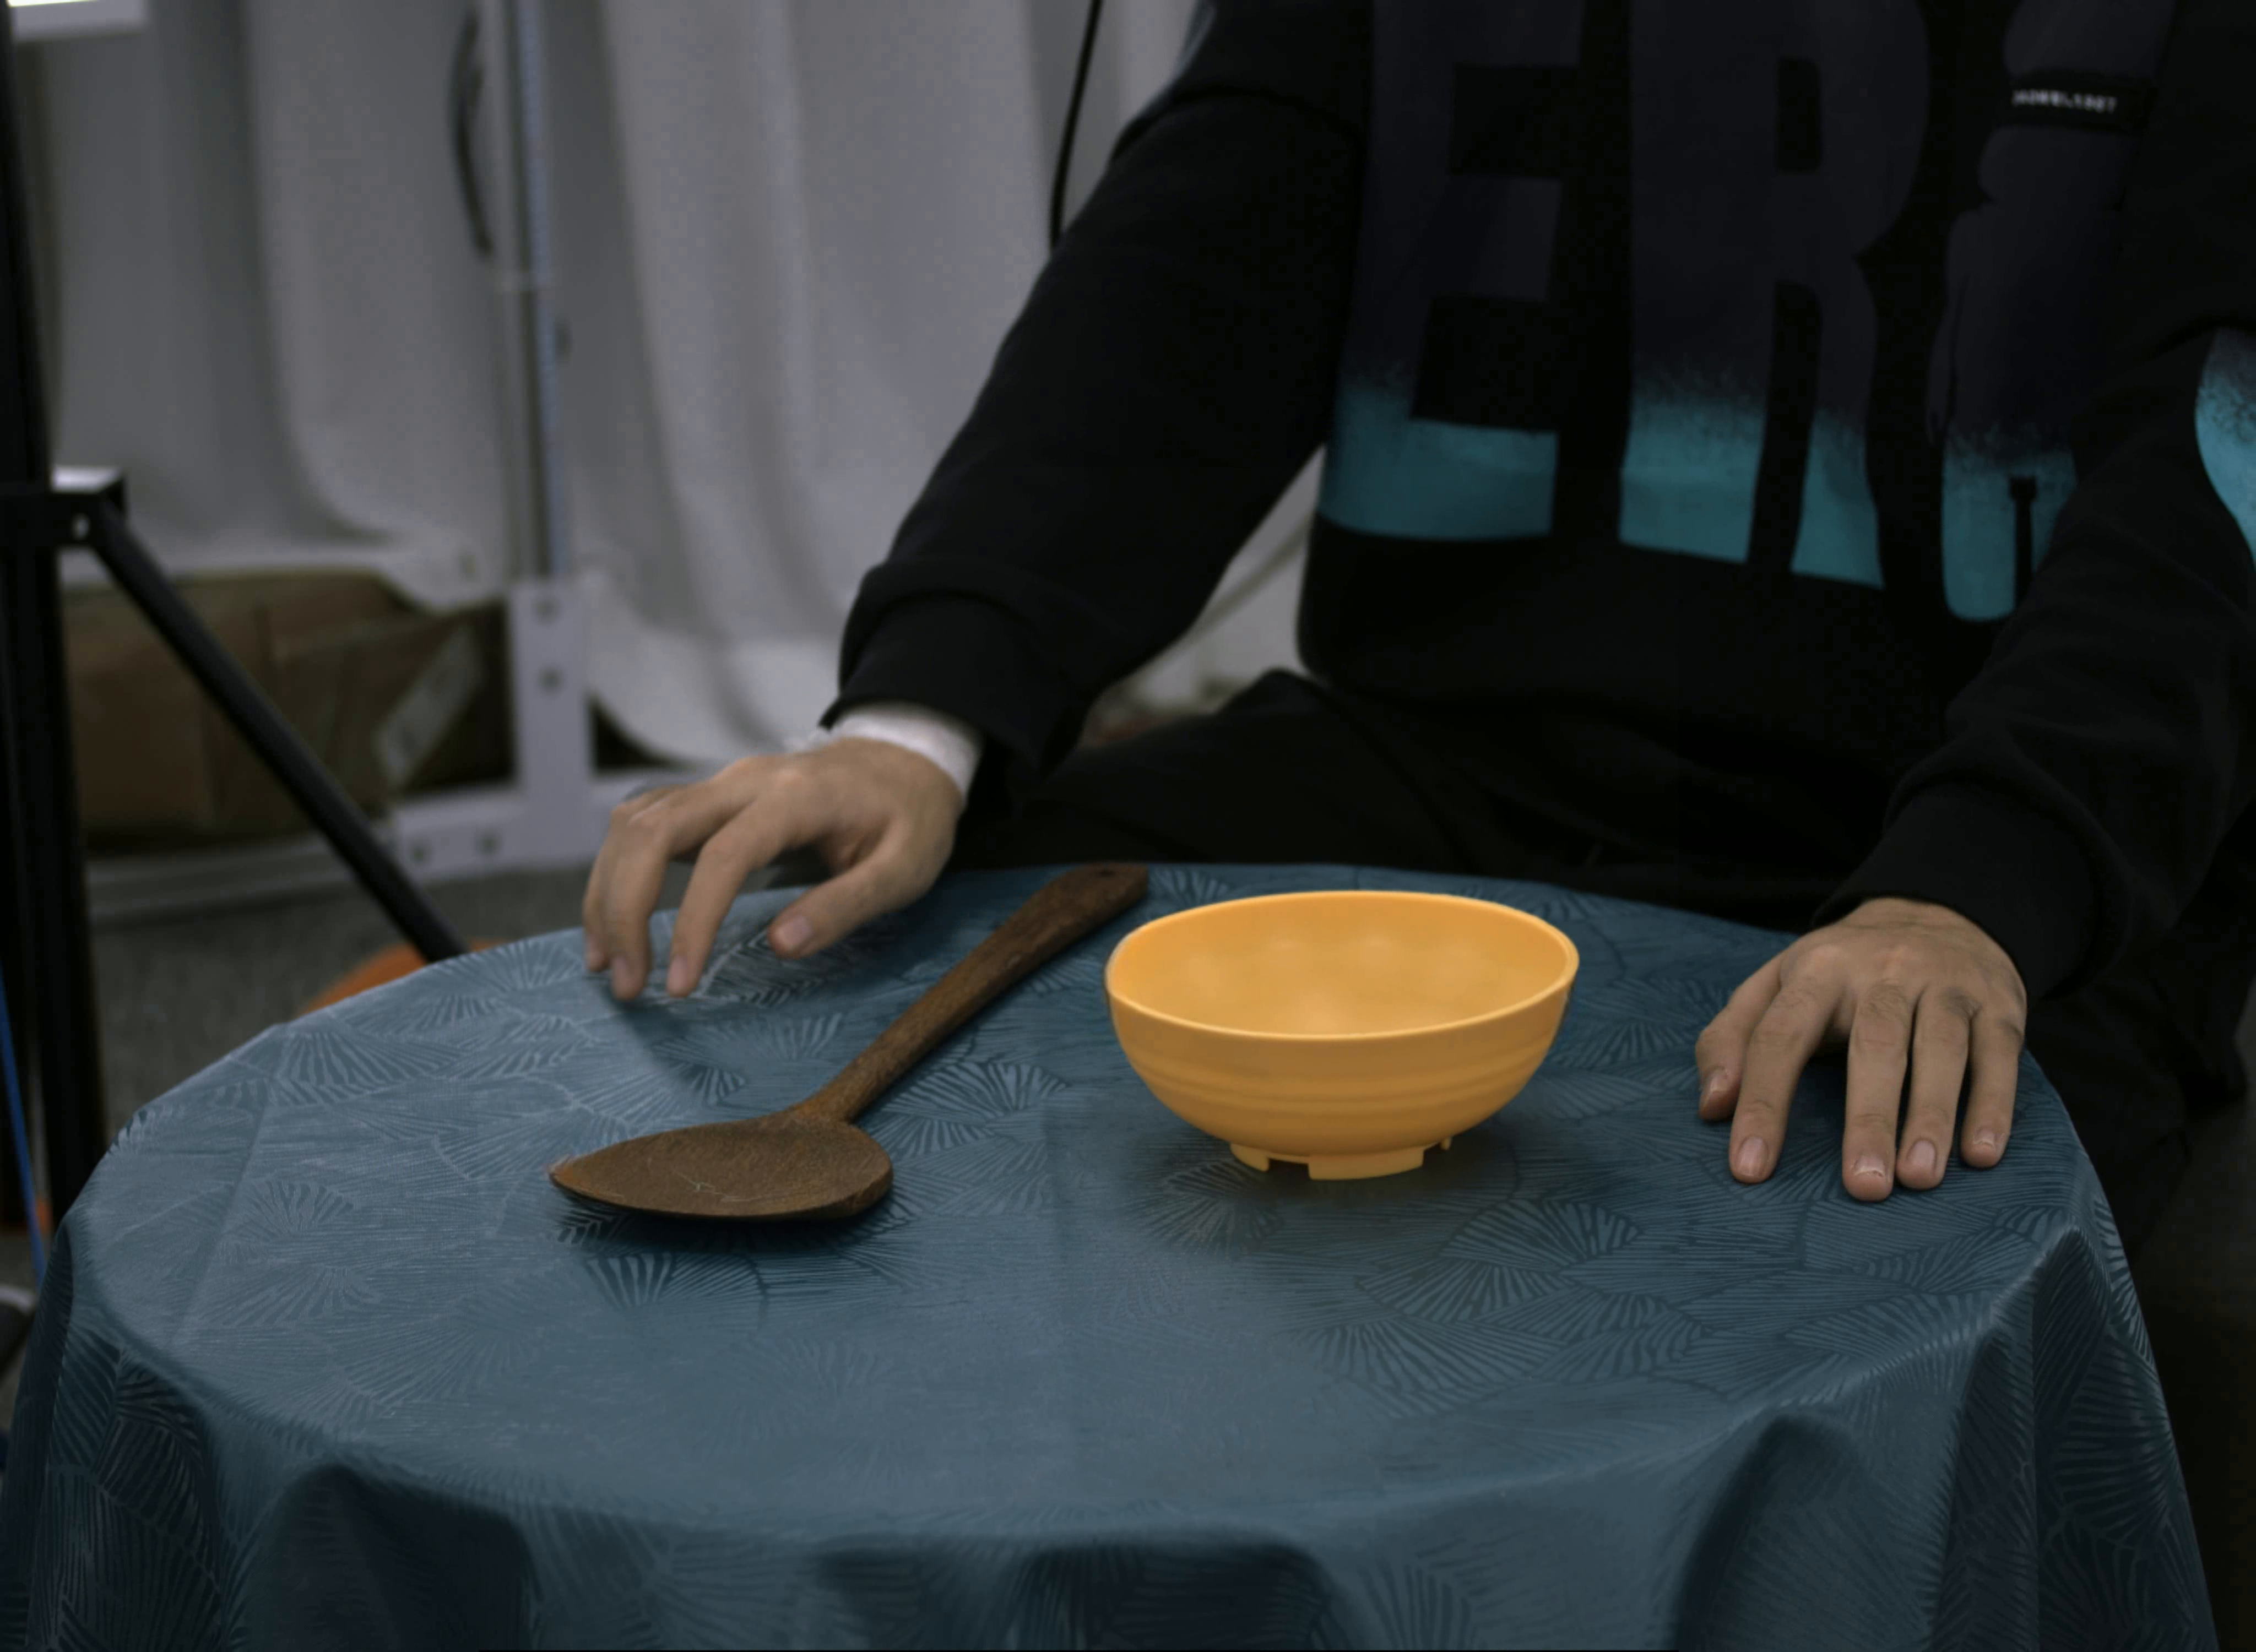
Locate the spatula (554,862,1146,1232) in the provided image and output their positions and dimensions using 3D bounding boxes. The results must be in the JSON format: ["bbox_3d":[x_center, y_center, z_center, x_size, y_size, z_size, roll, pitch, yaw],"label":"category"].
[{"bbox_3d":[-0.066,0.065,1.698,0.097,0.016,0.381,4,17,20],"label":"spatula"}]

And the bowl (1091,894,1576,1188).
[{"bbox_3d":[0.061,0.070,1.584,0.144,0.060,0.146,0,16,-1],"label":"bowl"}]
